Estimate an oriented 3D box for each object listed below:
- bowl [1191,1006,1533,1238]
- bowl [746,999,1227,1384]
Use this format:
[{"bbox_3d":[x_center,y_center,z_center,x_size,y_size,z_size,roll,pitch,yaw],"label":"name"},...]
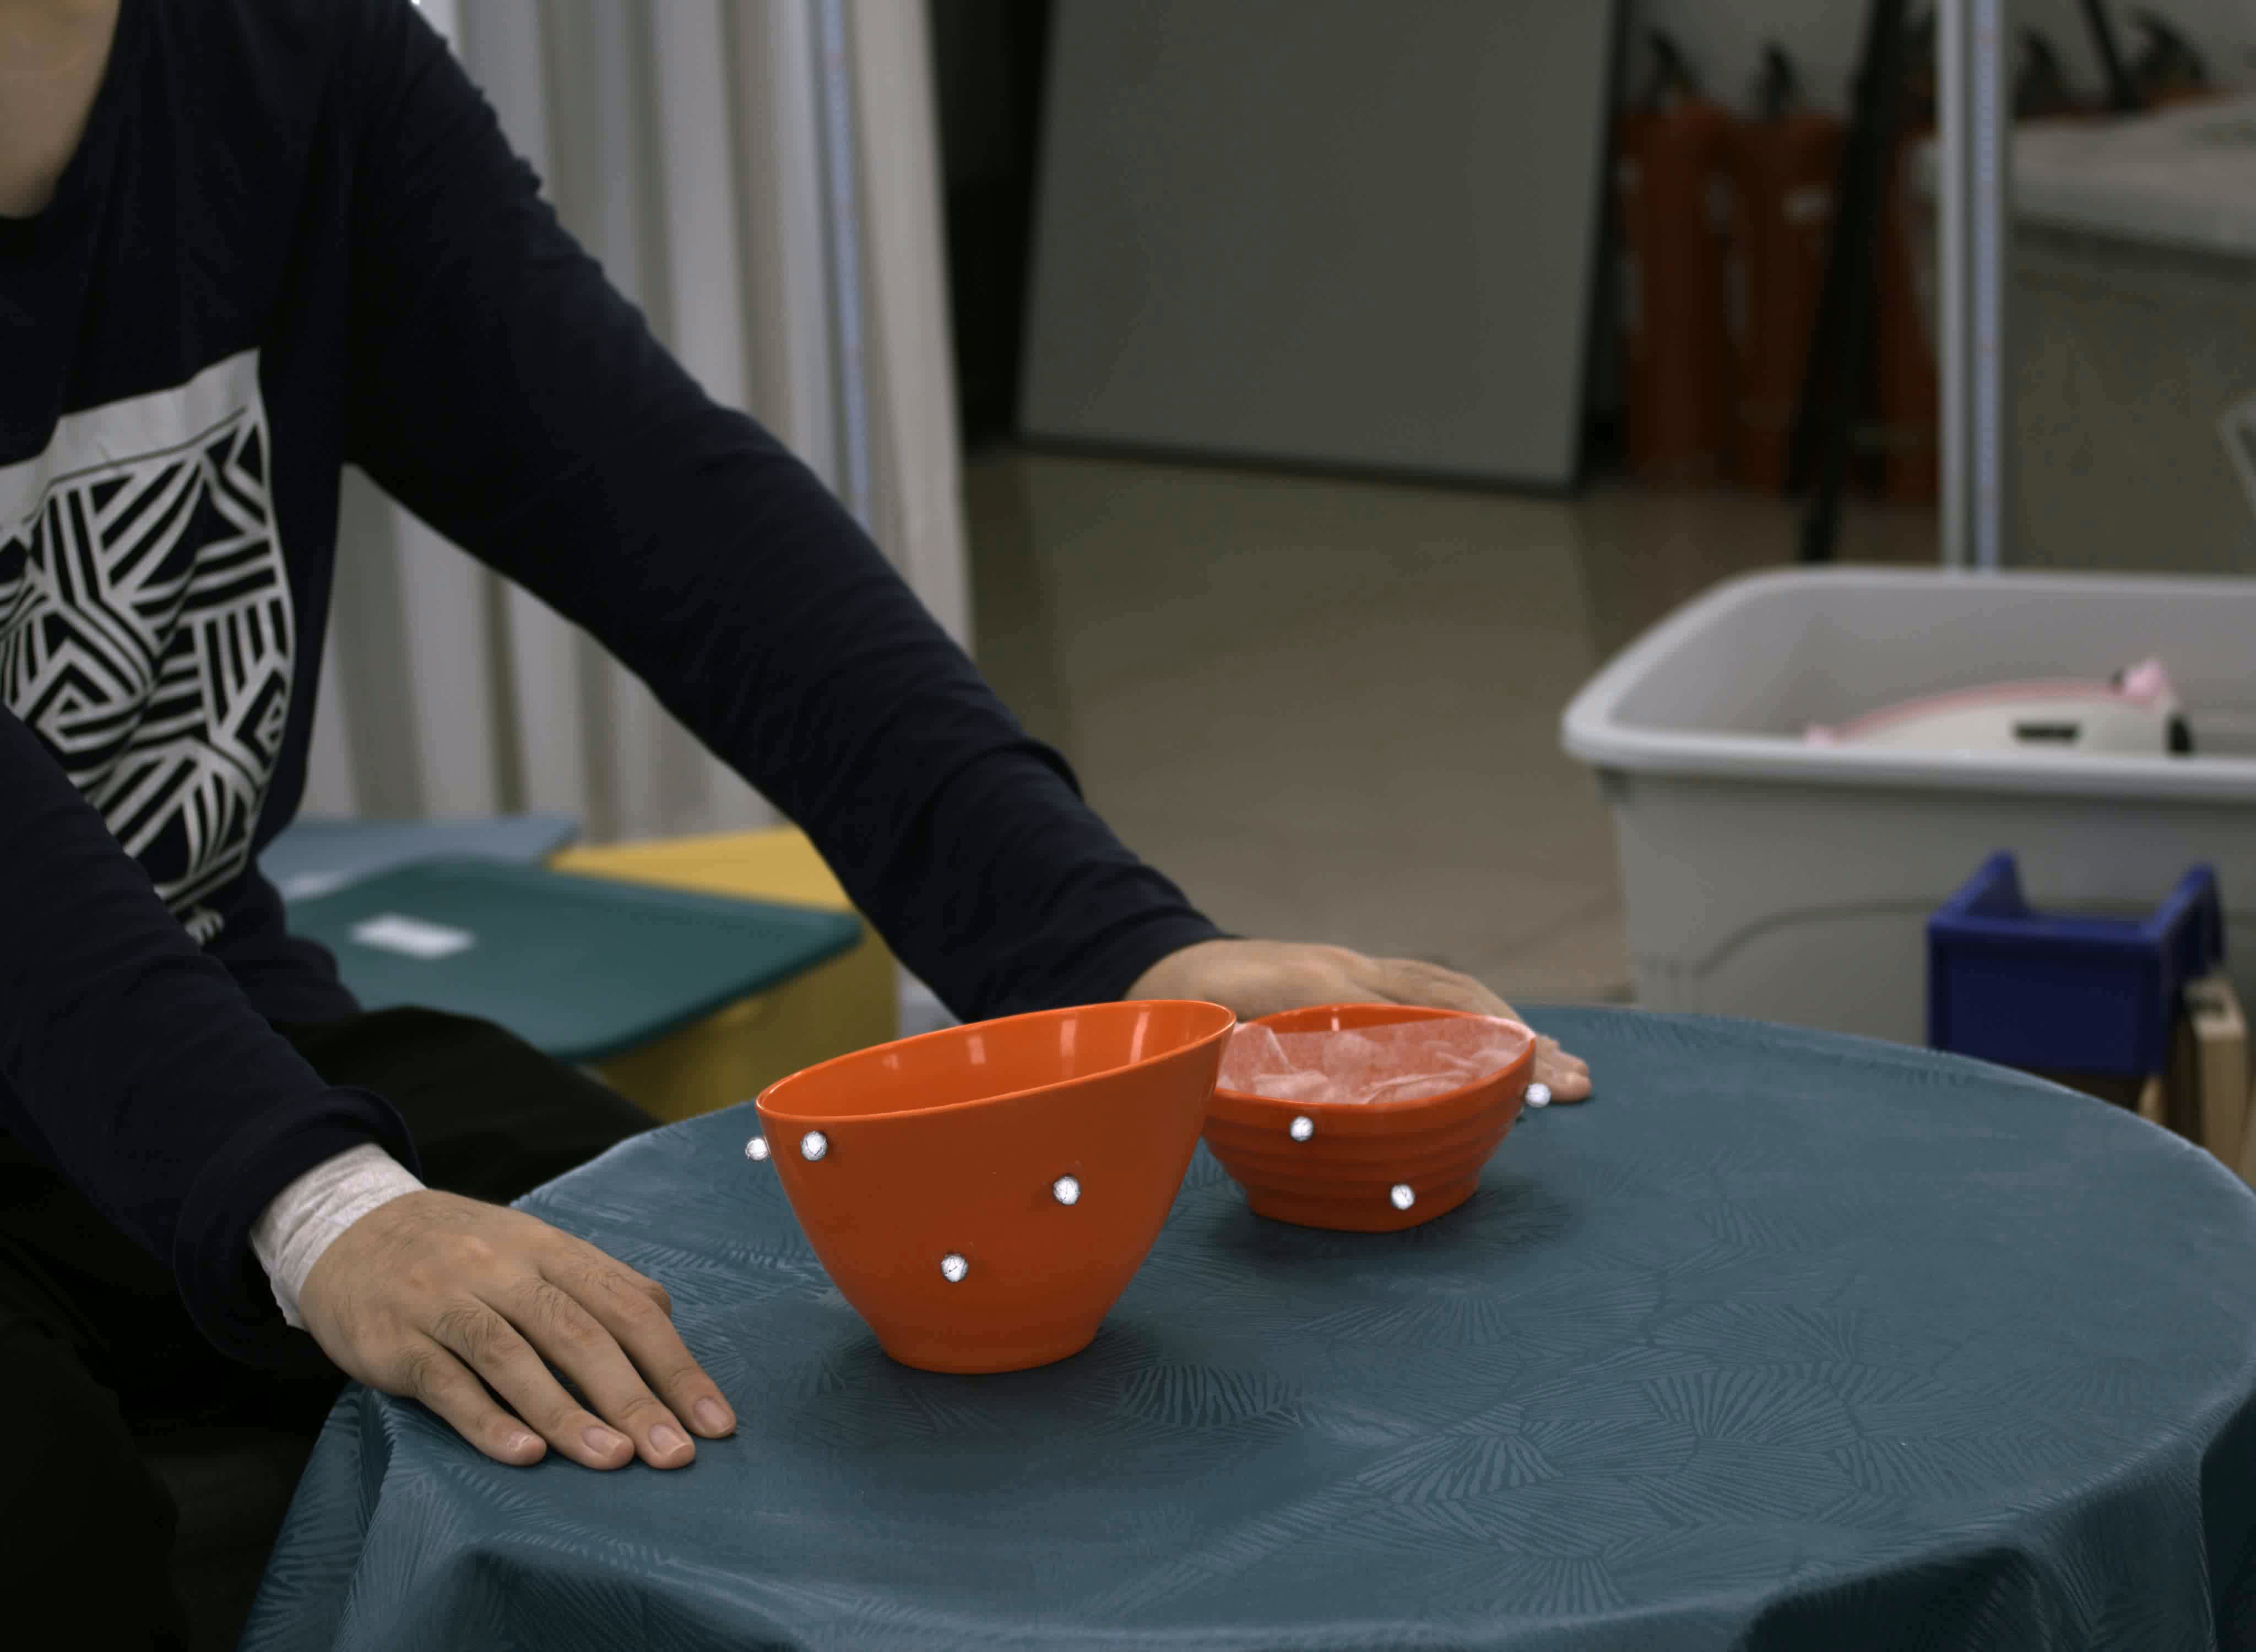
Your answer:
[{"bbox_3d":[0.076,0.098,1.745,0.117,0.052,0.119,-6,14,1],"label":"bowl"},{"bbox_3d":[-0.040,0.109,1.621,0.146,0.106,0.148,-4,14,0],"label":"bowl"}]
